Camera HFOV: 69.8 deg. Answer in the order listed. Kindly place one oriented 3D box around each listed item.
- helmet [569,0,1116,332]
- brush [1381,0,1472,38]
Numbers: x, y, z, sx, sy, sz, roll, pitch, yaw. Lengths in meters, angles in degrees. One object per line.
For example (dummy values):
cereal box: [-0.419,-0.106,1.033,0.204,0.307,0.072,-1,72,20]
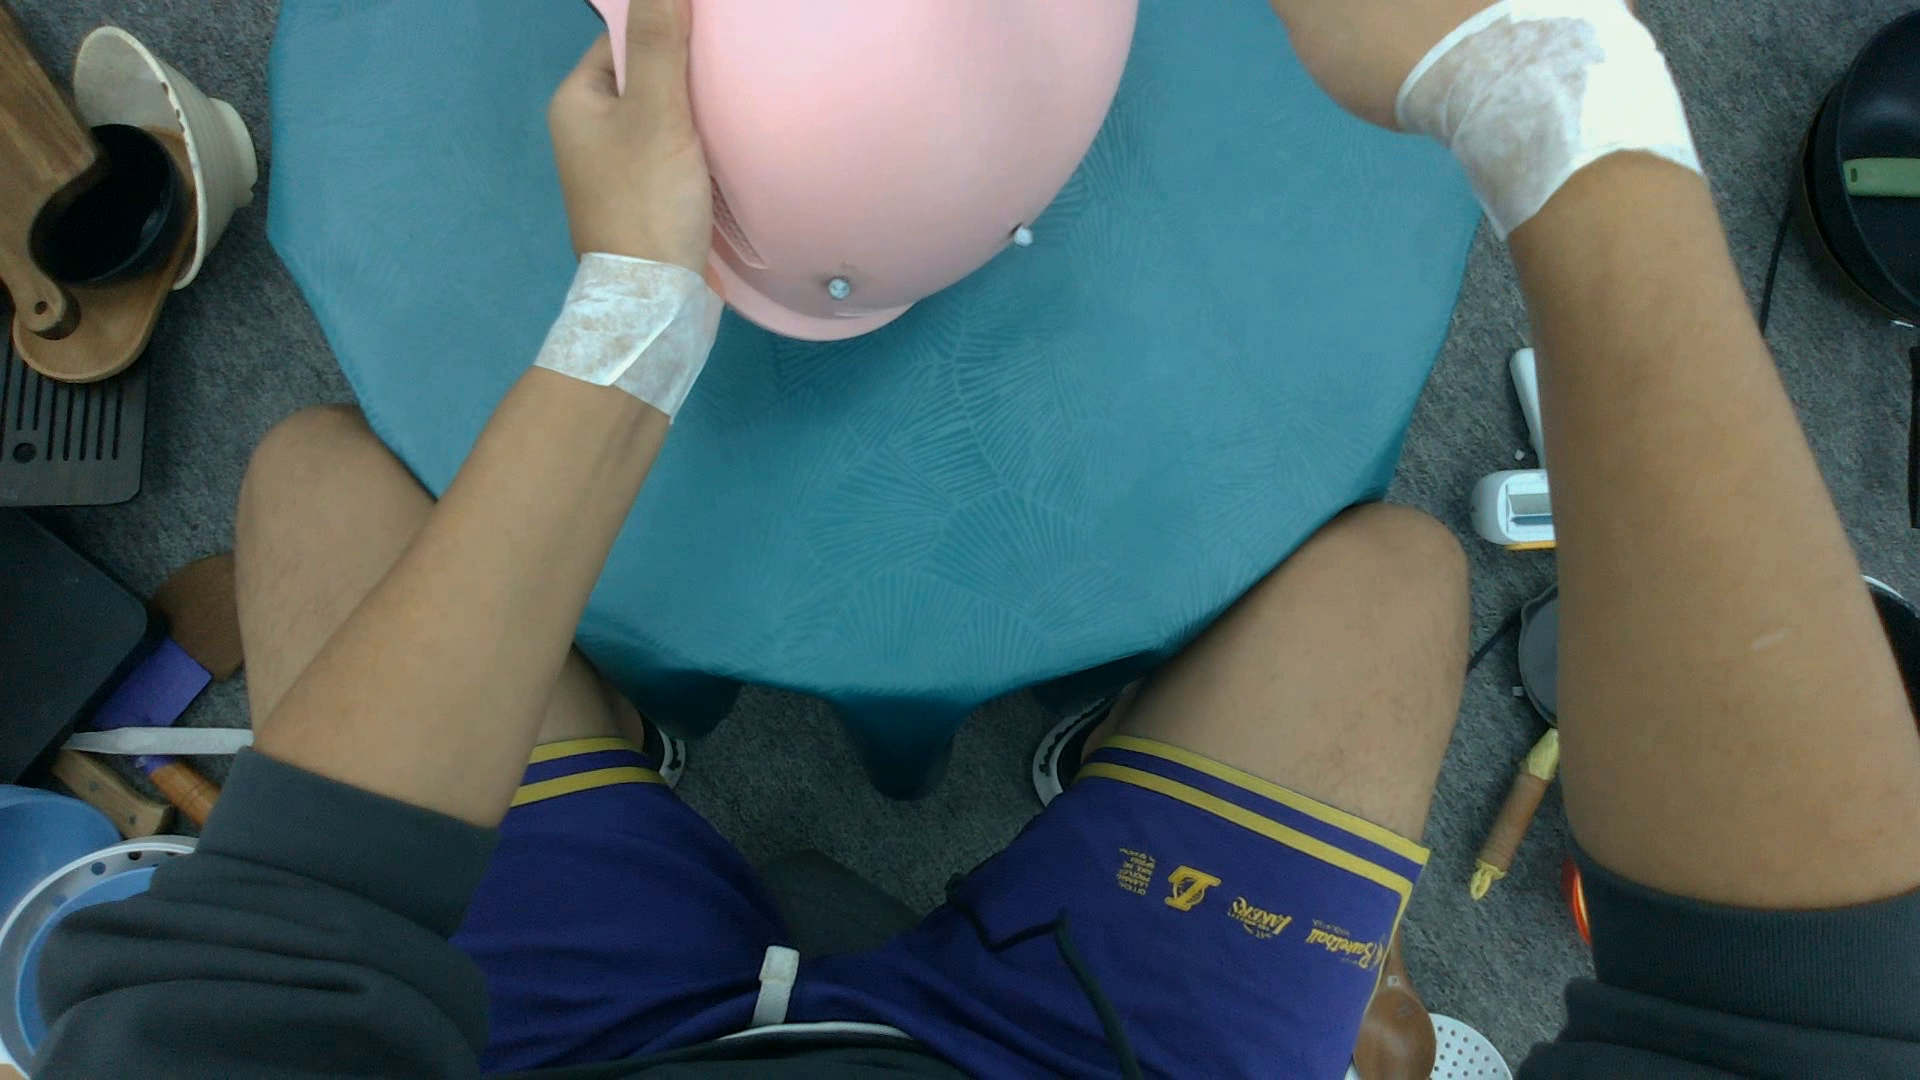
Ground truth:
helmet: [-0.026,-0.223,0.557,0.158,0.234,0.266,-2,75,37]
brush: [0.059,-0.207,0.422,0.034,0.050,0.244,-19,59,-31]
